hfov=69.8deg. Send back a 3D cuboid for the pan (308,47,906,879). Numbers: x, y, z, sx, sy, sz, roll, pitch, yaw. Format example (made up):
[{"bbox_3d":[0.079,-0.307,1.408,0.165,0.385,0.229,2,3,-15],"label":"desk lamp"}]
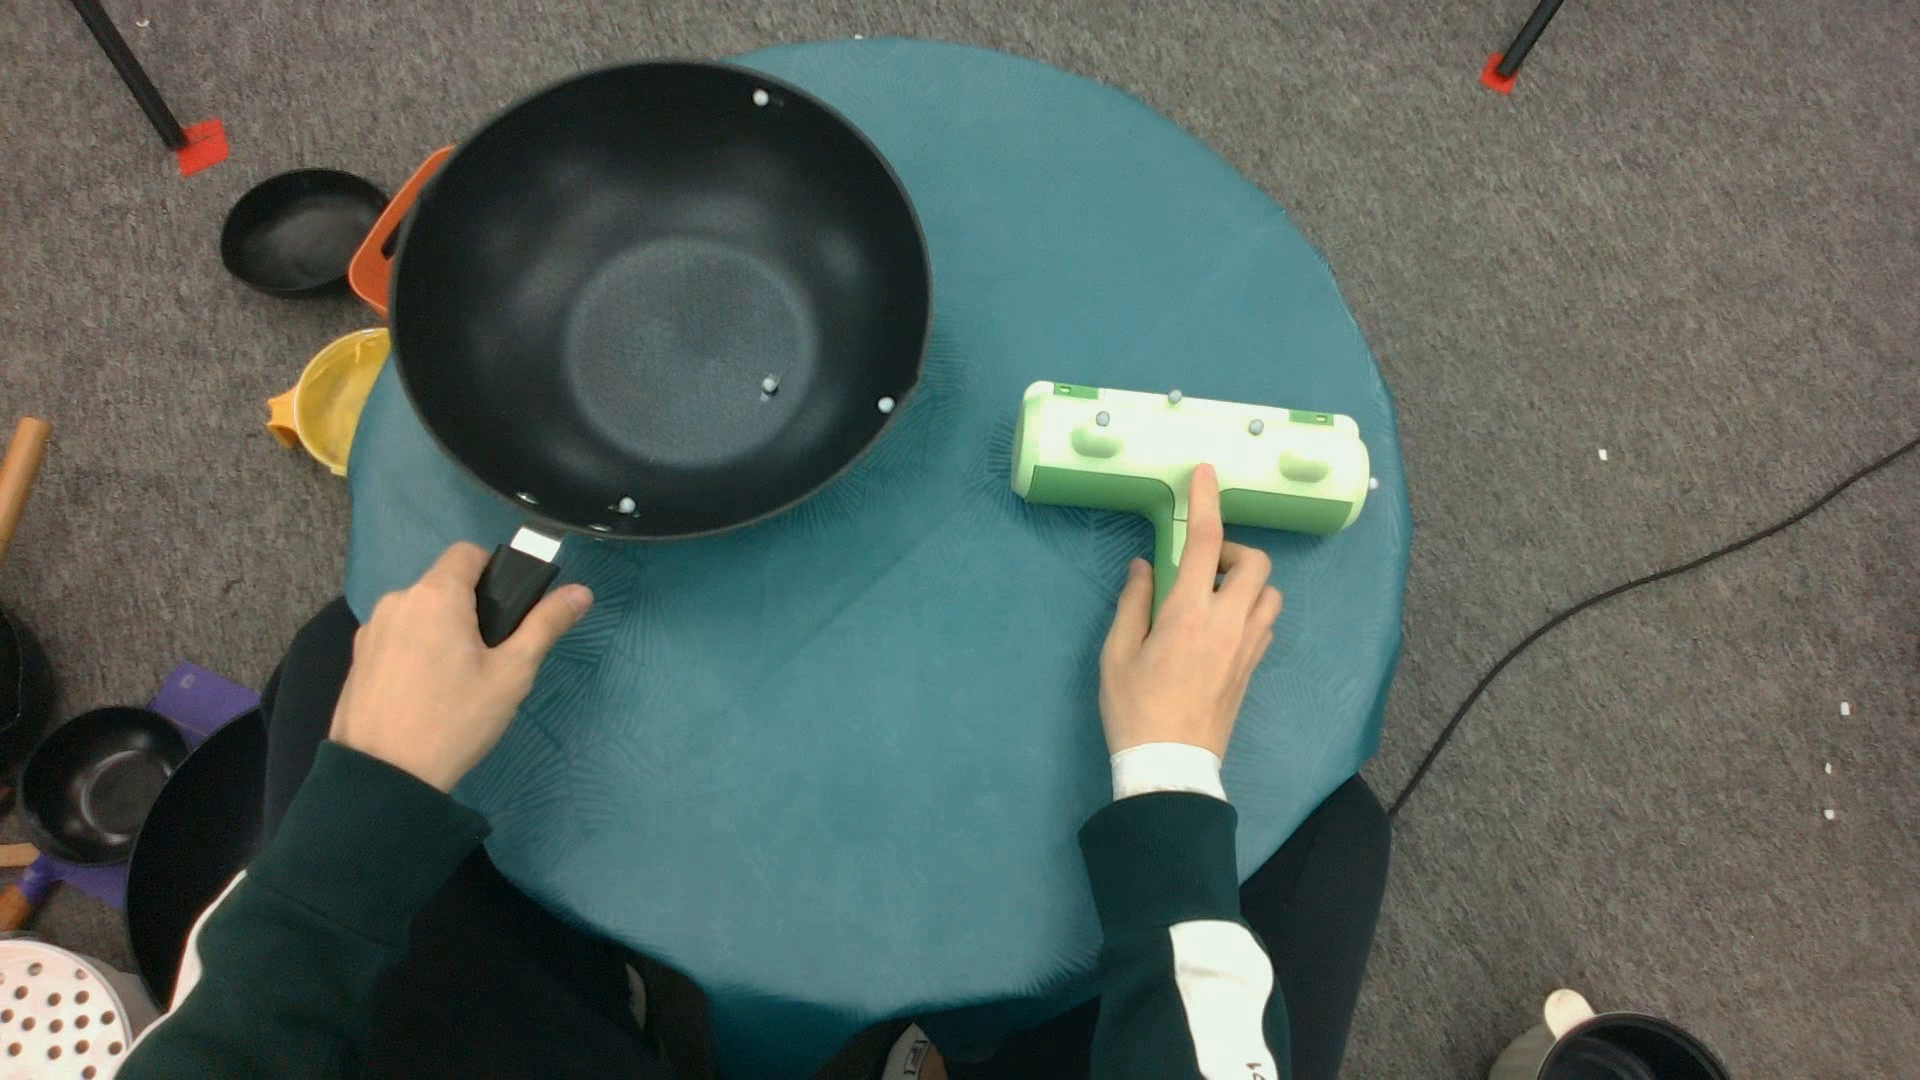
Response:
[{"bbox_3d":[-0.203,-0.043,0.729,0.288,0.086,0.464,20,75,4],"label":"pan"}]

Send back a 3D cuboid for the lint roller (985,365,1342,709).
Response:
[{"bbox_3d":[0.112,-0.006,0.747,0.199,0.082,0.184,5,66,-6],"label":"lint roller"}]
